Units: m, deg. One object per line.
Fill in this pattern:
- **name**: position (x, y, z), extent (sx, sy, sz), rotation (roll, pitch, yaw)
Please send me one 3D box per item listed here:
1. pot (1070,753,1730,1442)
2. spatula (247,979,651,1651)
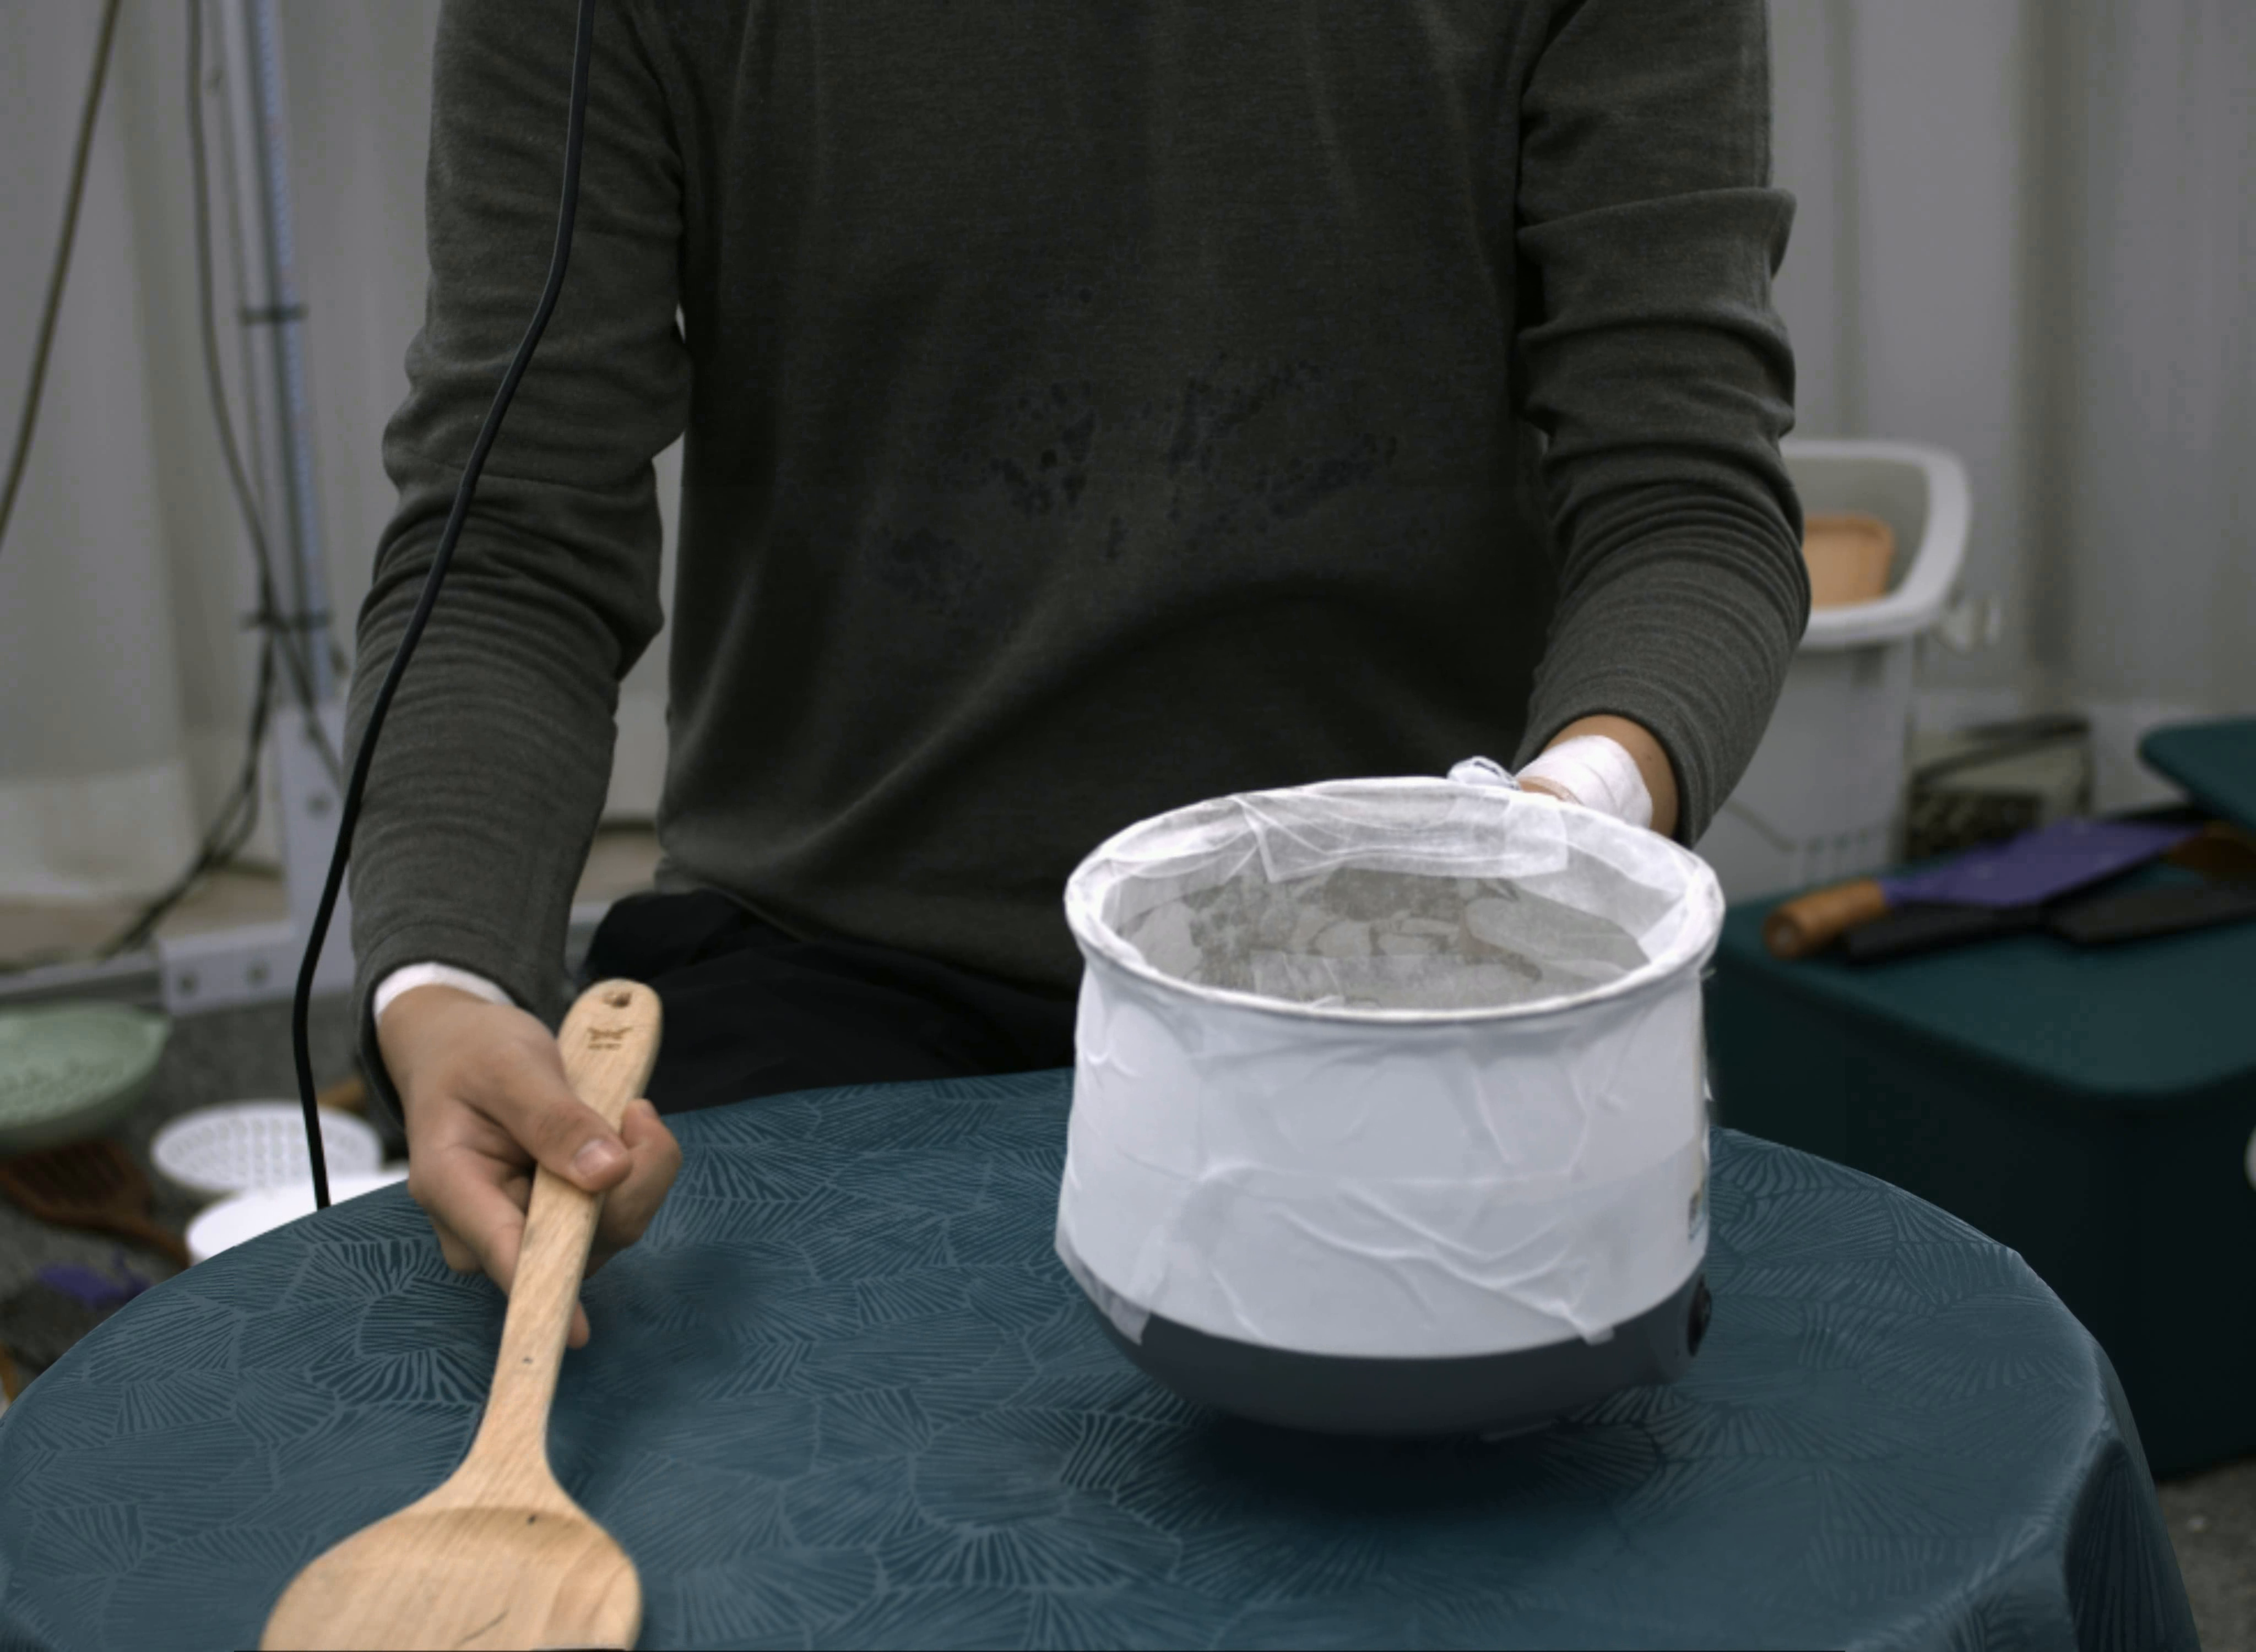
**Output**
- **pot**: position (0.080, 0.067, 1.511), extent (0.179, 0.136, 0.235), rotation (6, 21, 15)
- **spatula**: position (-0.170, 0.134, 1.531), extent (0.095, 0.018, 0.395), rotation (0, 26, 1)
